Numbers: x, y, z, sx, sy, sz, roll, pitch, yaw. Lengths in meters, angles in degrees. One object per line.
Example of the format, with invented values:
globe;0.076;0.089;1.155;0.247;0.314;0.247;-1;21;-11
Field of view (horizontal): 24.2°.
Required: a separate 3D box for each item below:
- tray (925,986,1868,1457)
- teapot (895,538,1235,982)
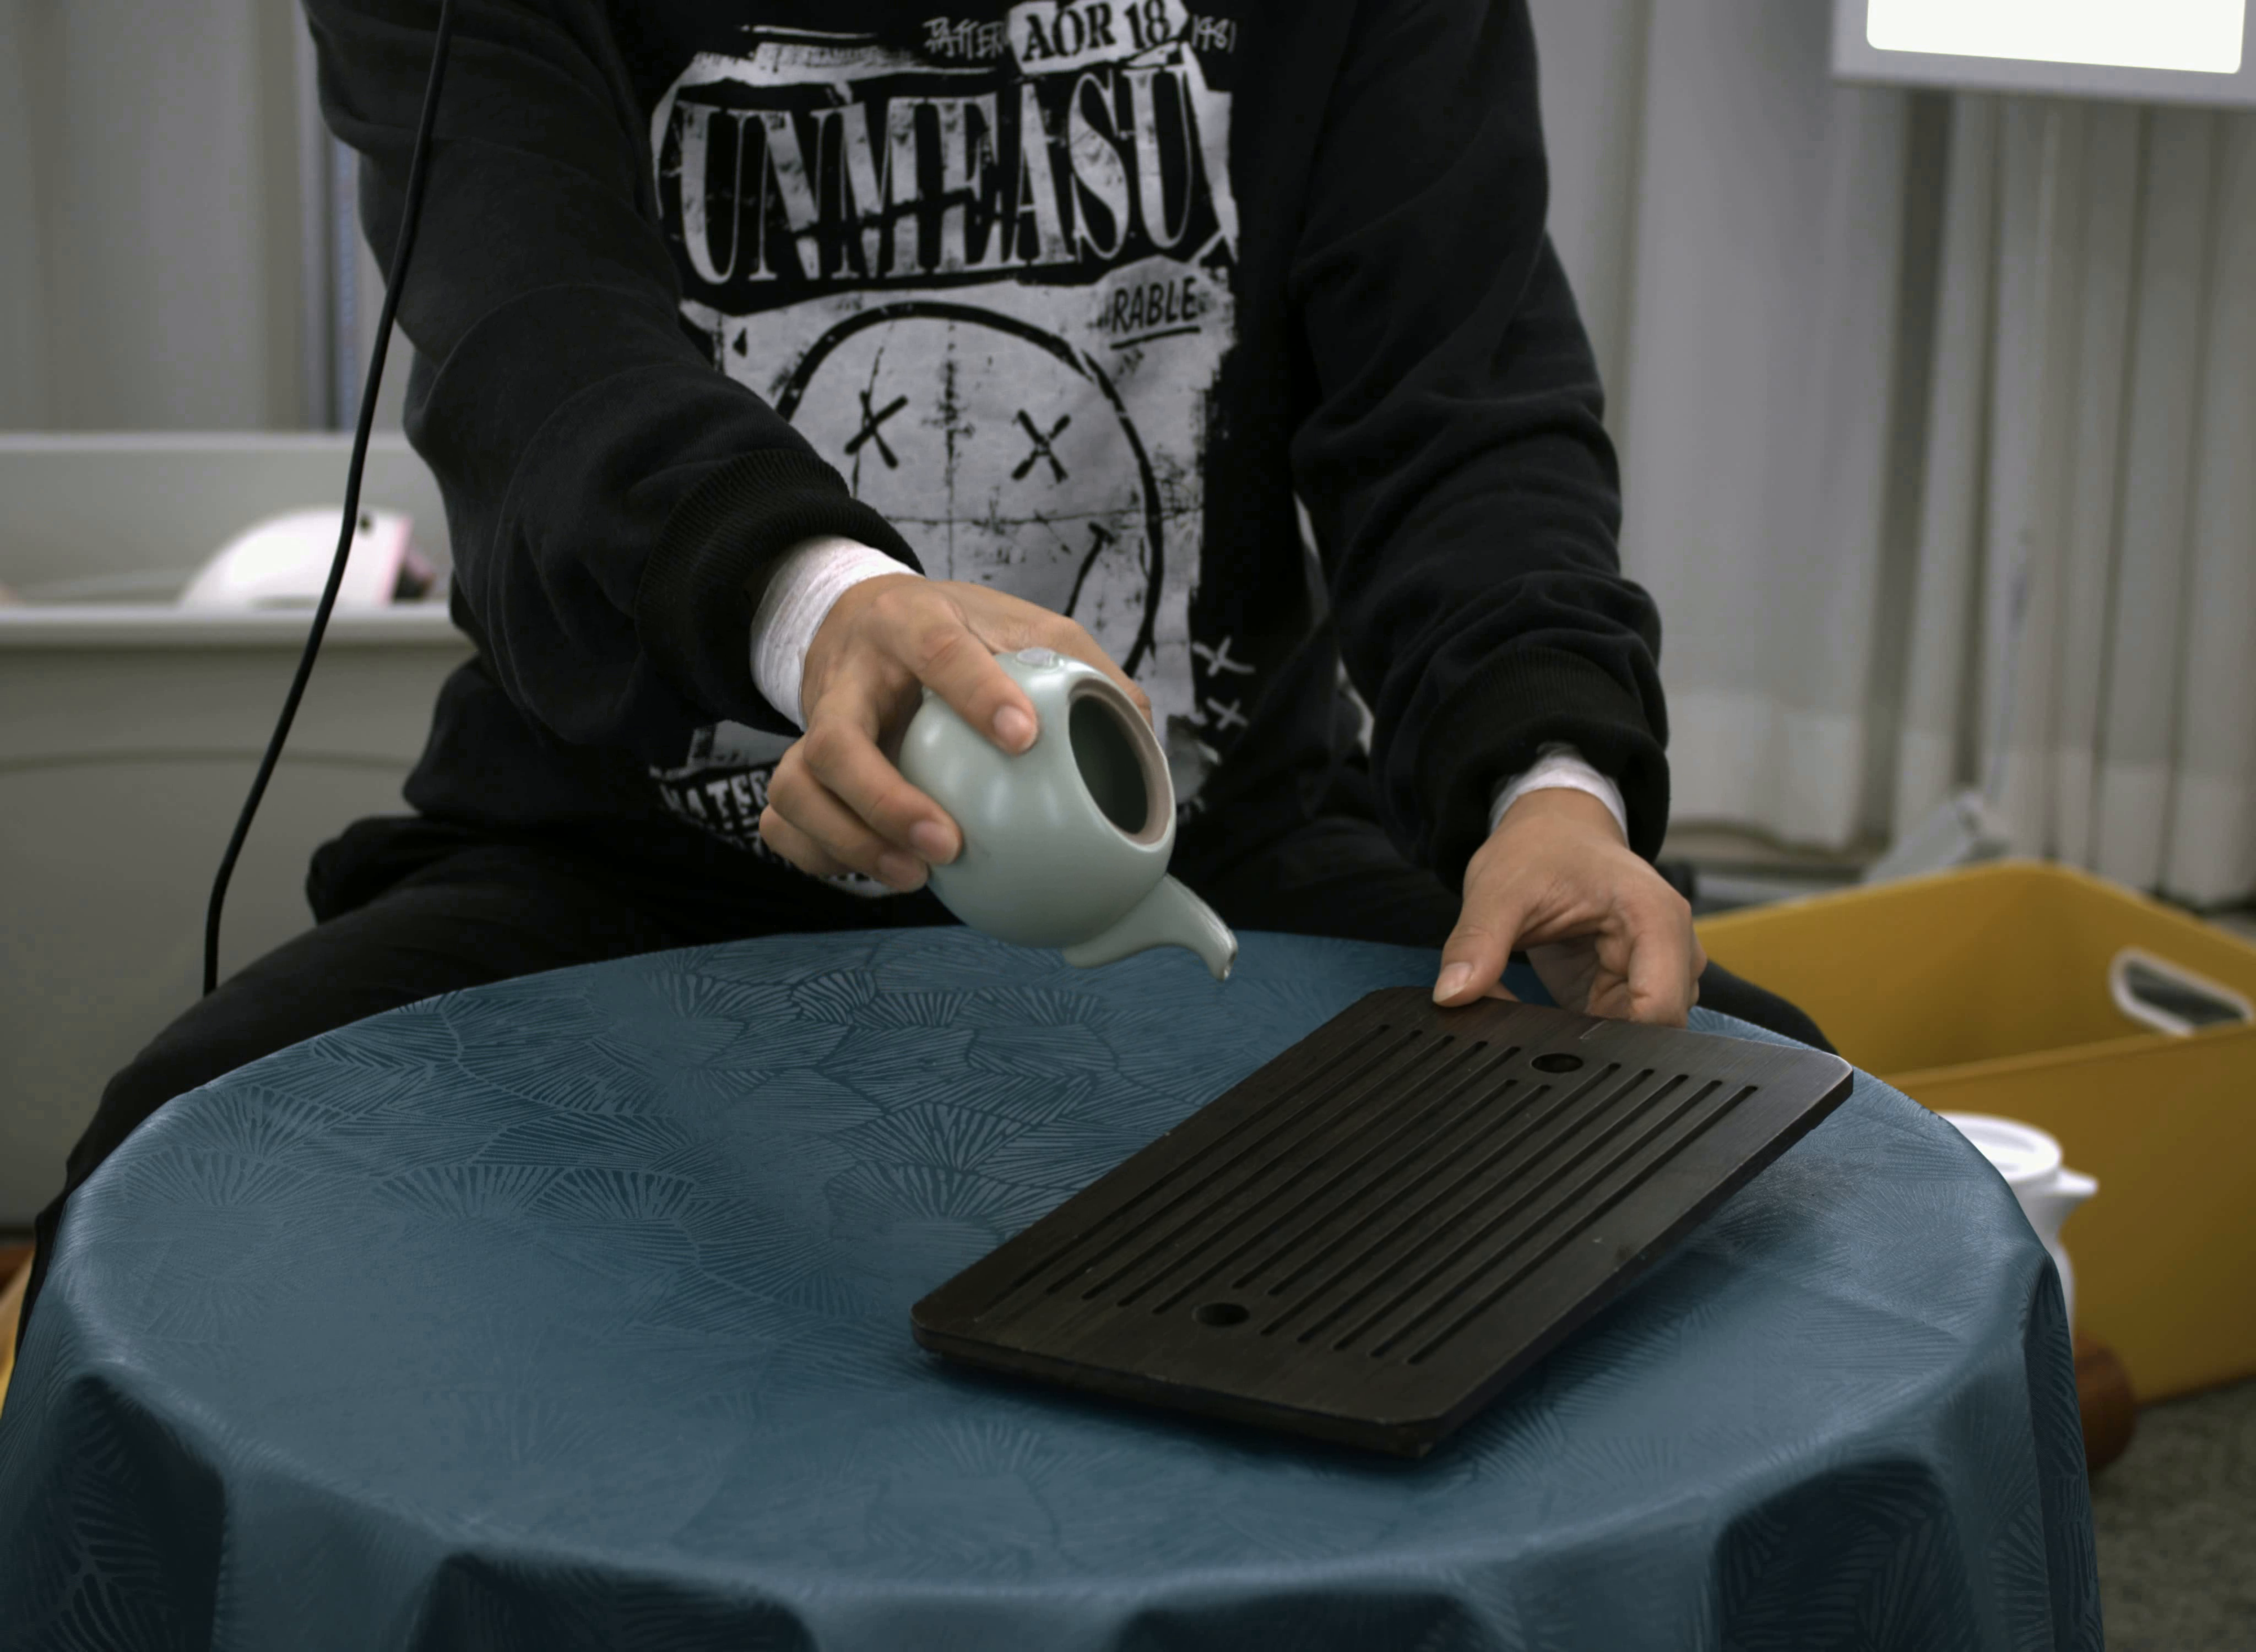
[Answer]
tray;0.086;0.113;1.557;0.168;0.019;0.306;9;21;29
teapot;-0.026;-0.010;1.539;0.074;0.144;0.088;-20;8;25
